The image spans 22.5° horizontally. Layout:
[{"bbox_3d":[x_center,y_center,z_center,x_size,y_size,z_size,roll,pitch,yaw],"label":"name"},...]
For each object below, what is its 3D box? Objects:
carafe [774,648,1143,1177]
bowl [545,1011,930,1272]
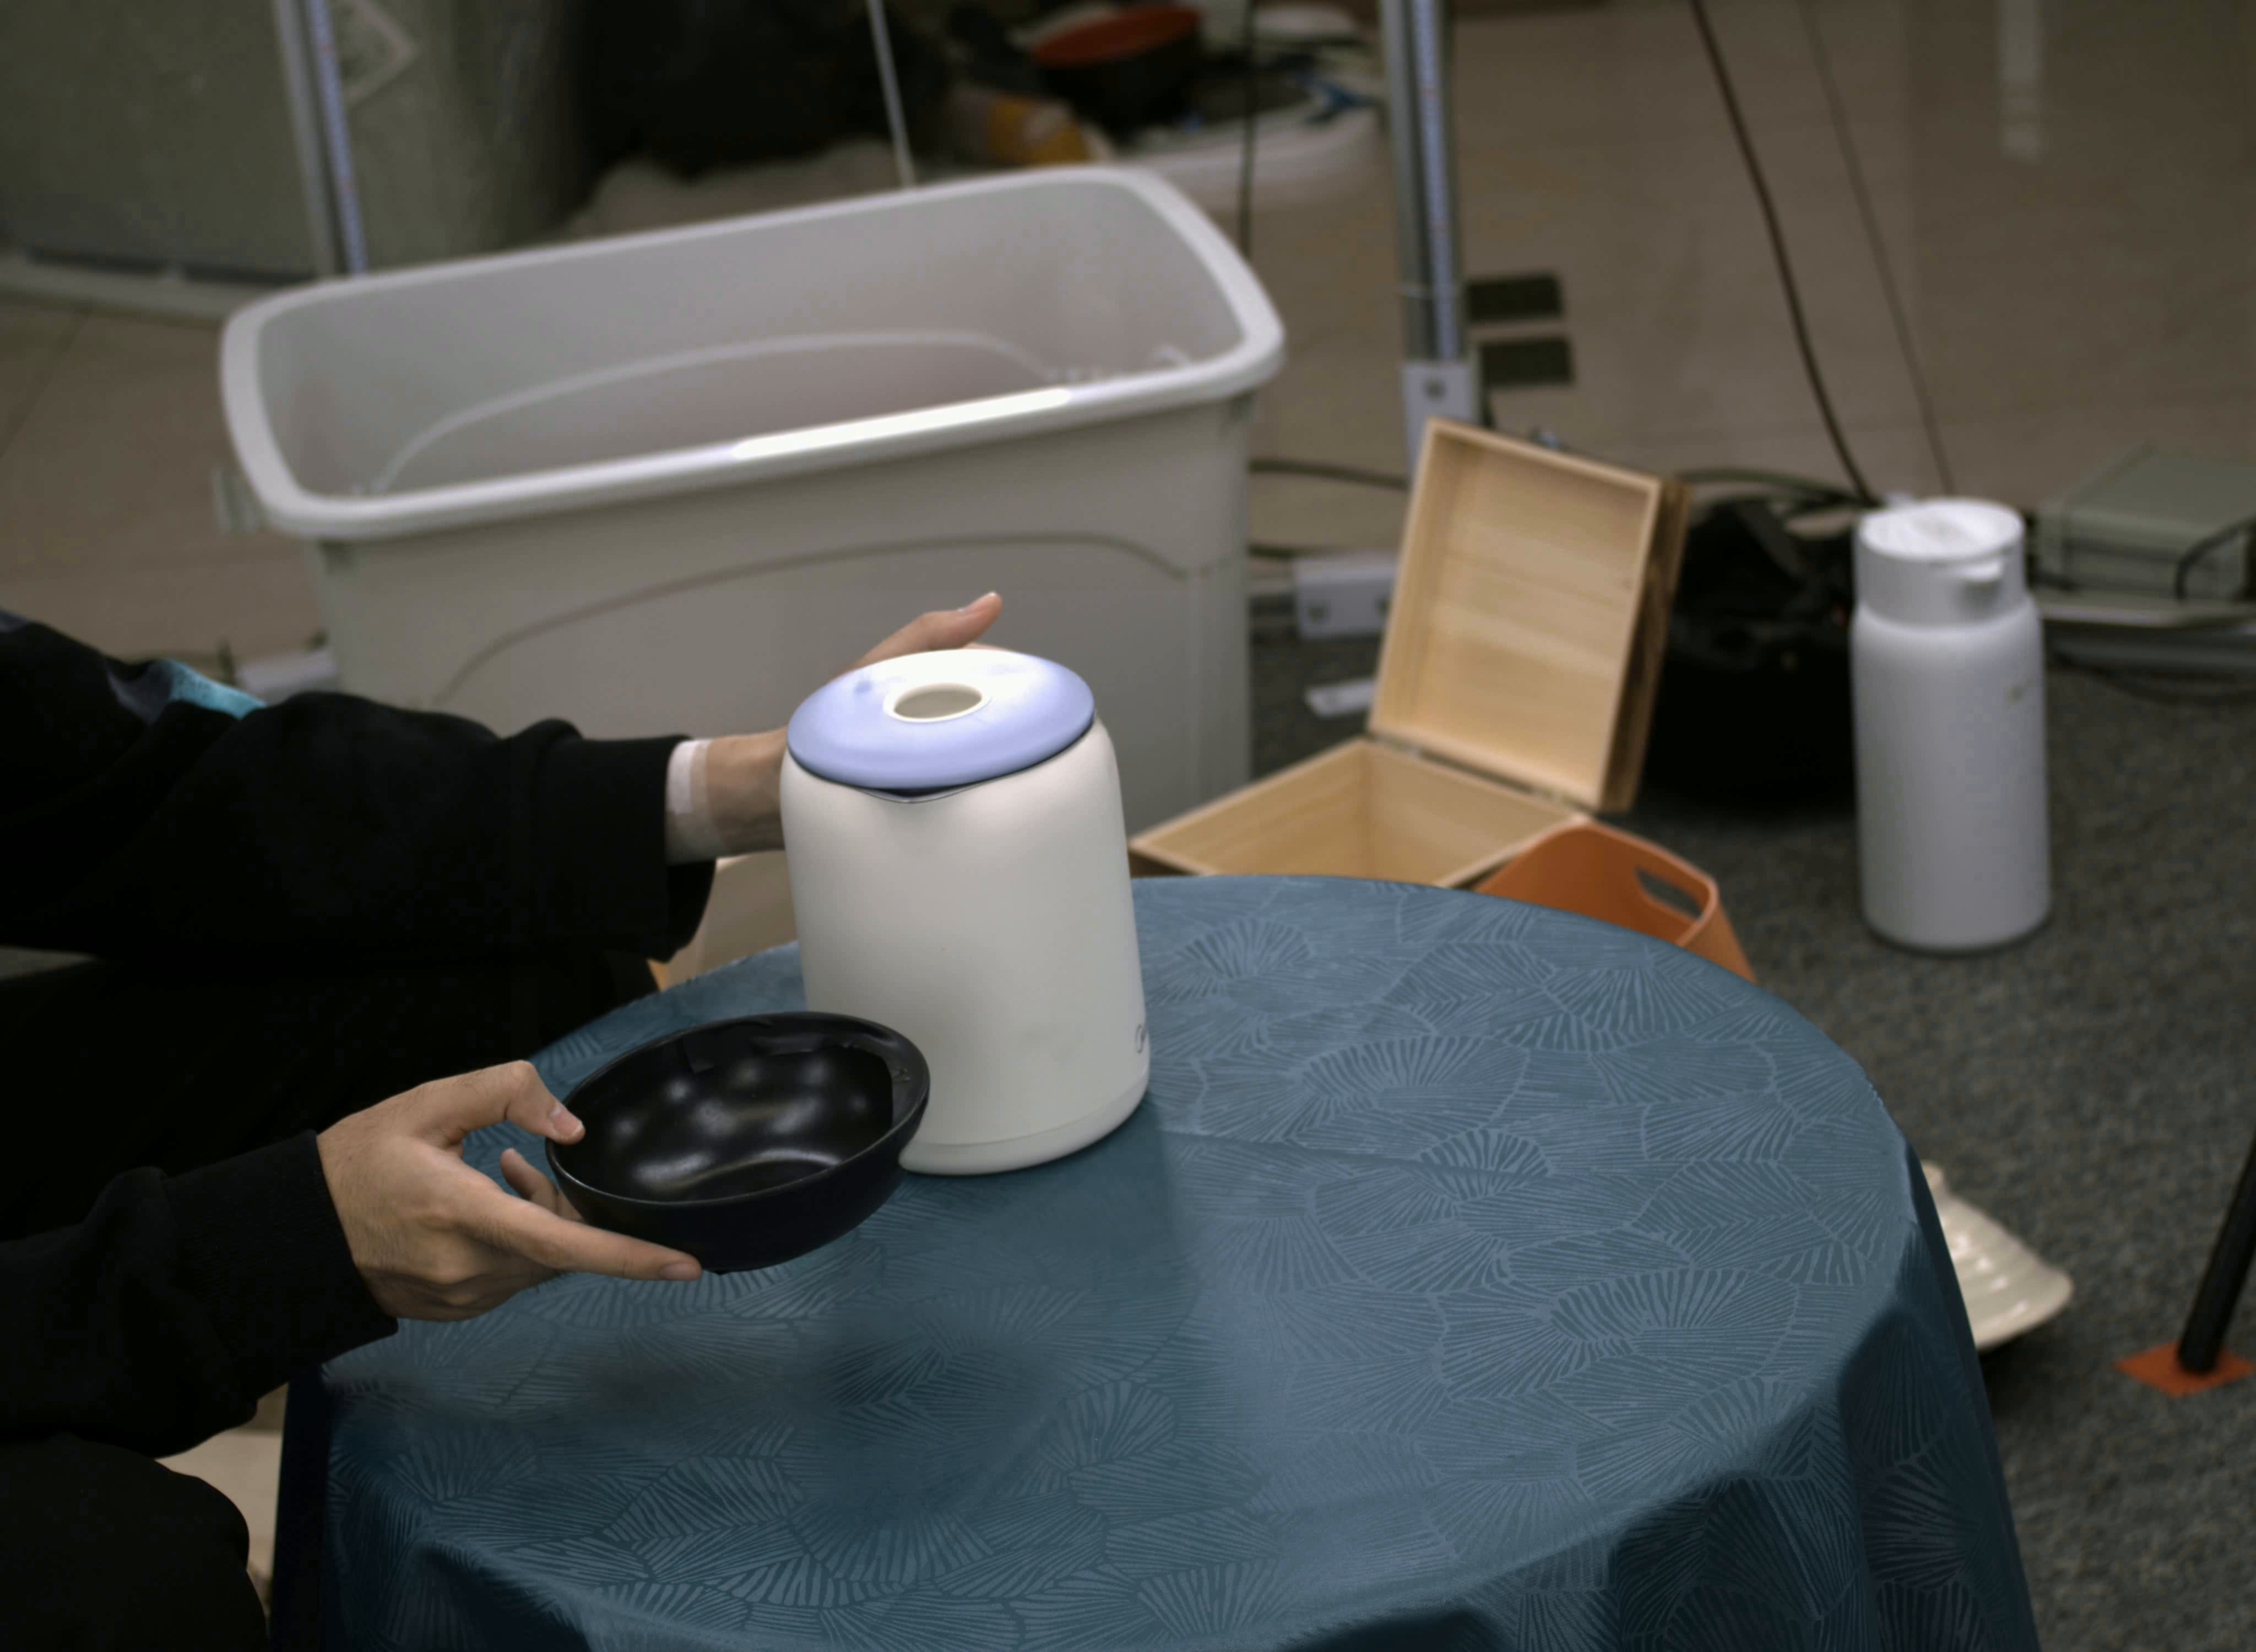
[{"bbox_3d":[-0.063,0.023,2.204,0.132,0.185,0.188,-2,24,7],"label":"carafe"},{"bbox_3d":[-0.134,0.120,2.016,0.140,0.050,0.138,-10,25,5],"label":"bowl"}]
